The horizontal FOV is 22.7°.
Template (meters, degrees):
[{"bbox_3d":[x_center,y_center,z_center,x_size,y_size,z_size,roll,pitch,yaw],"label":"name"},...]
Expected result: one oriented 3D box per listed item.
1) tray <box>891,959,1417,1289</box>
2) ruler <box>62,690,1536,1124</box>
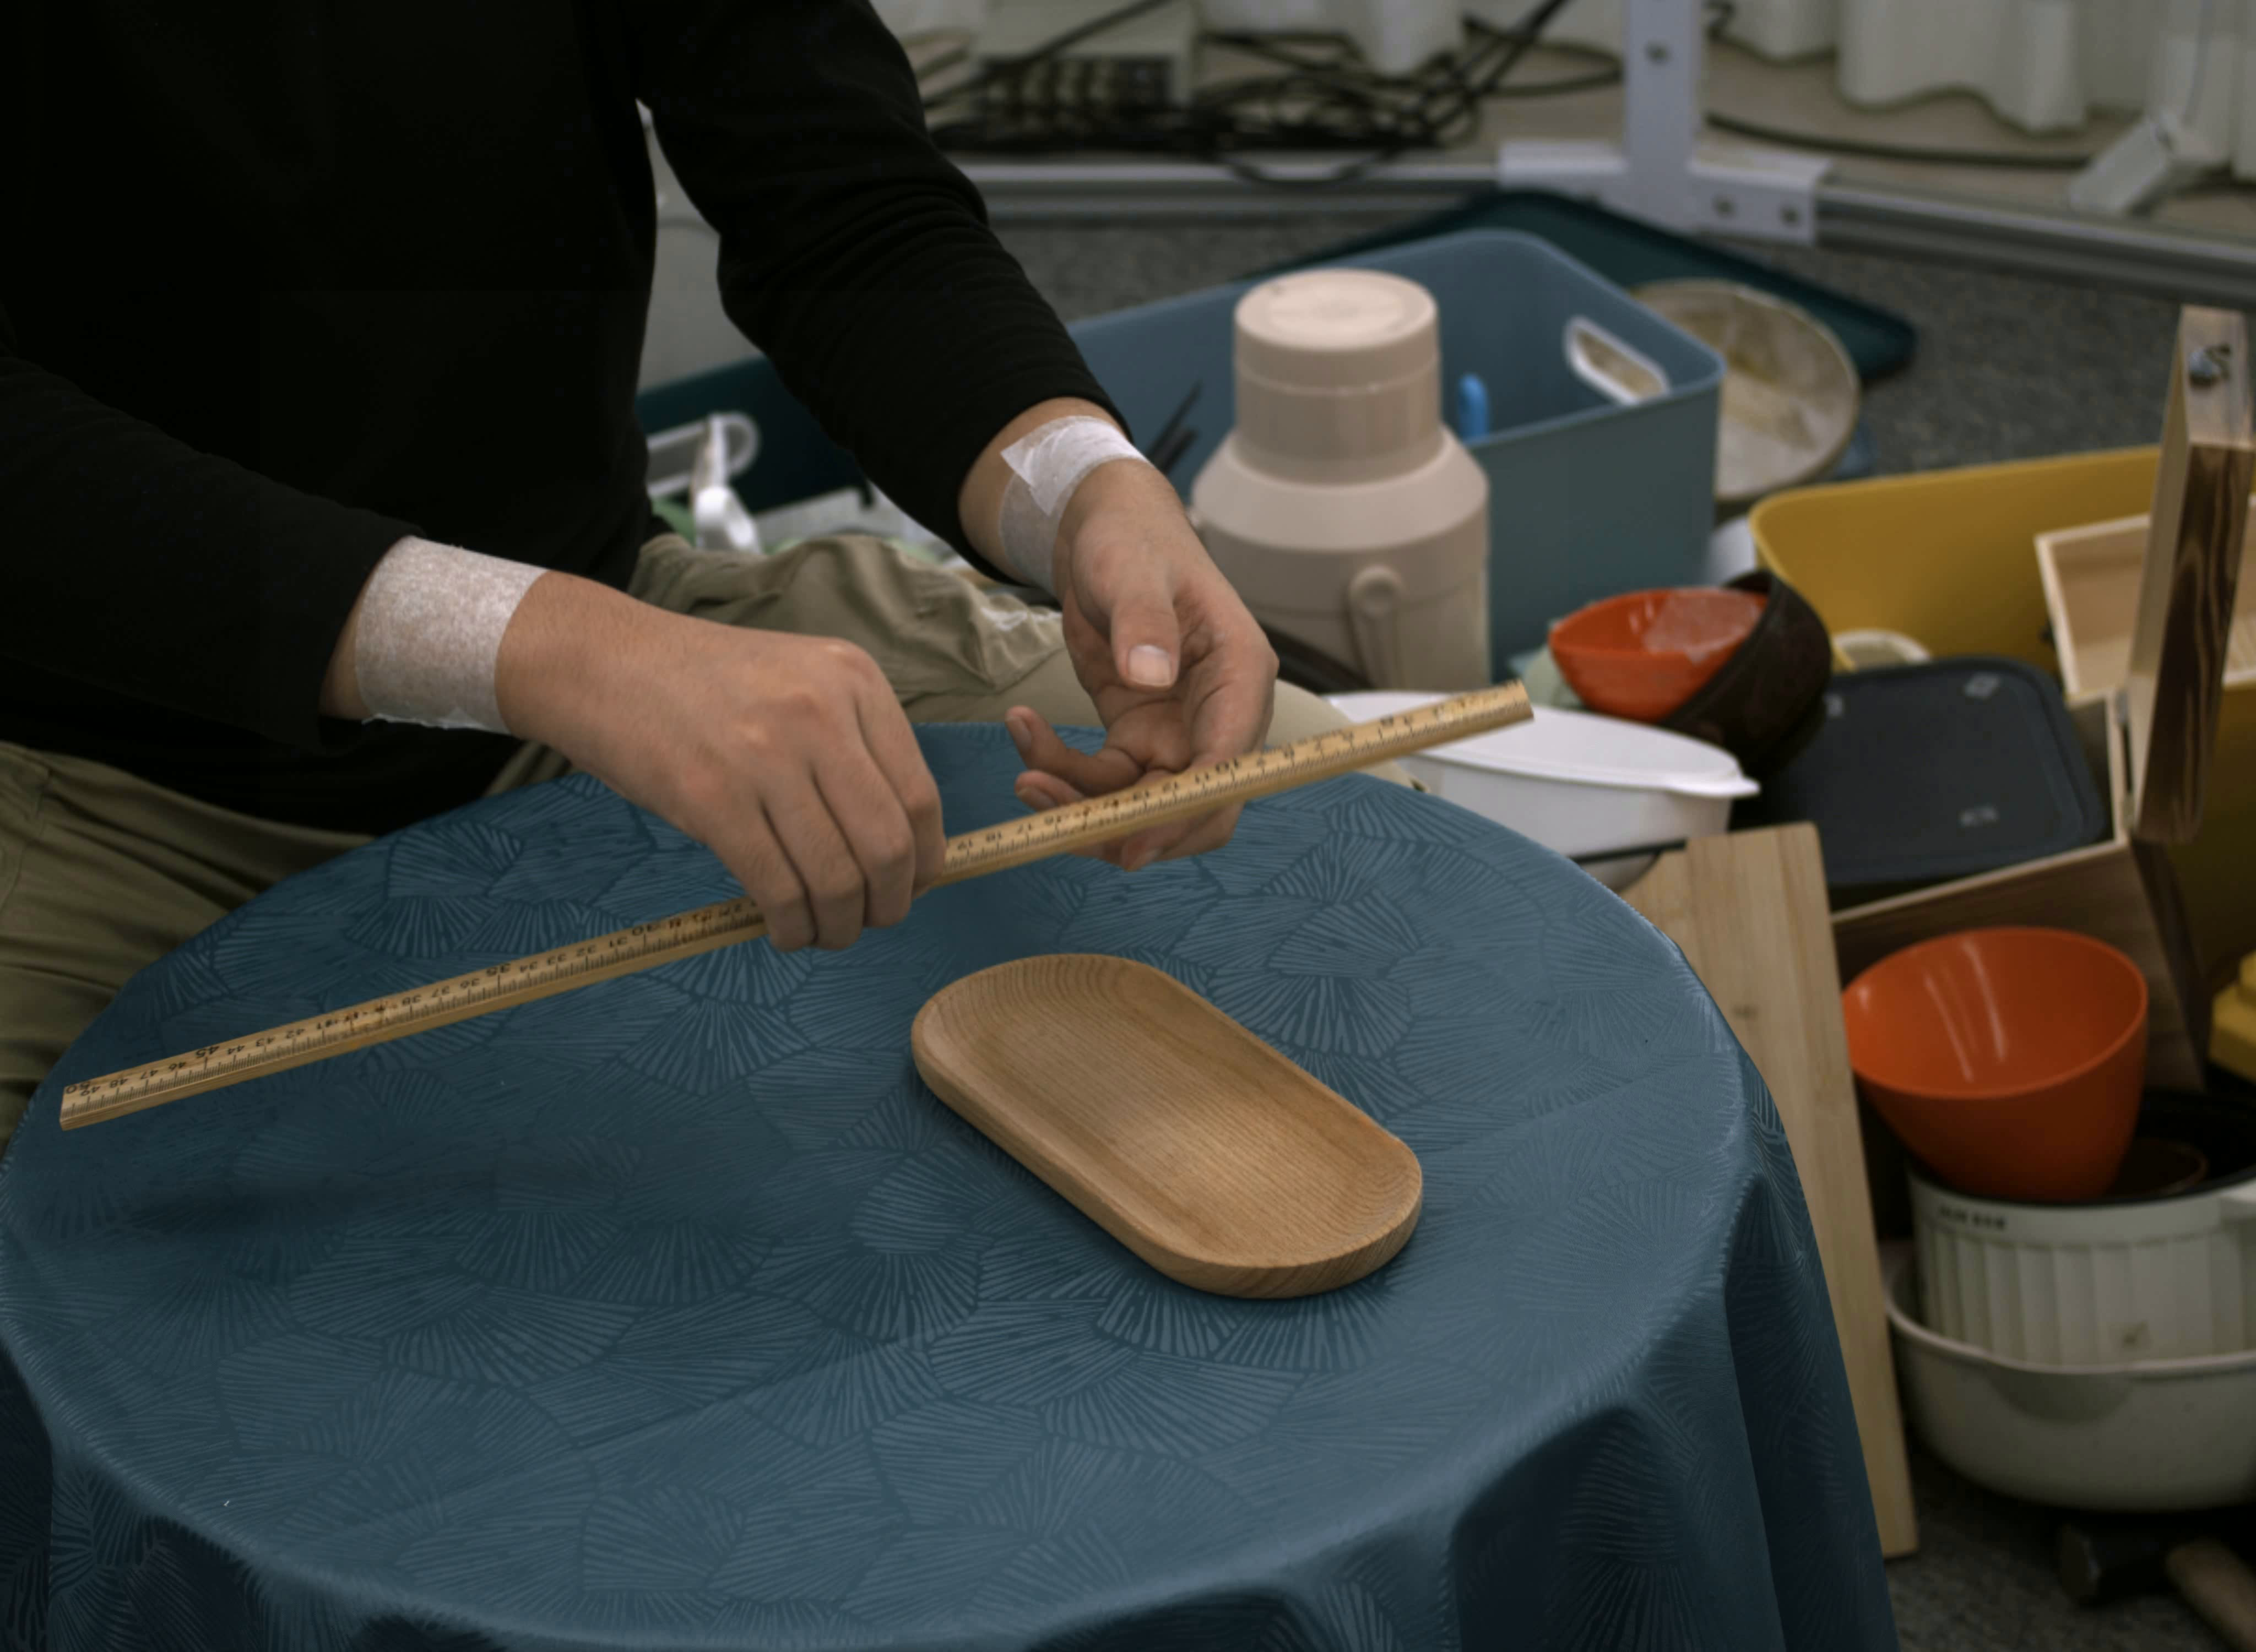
[{"bbox_3d":[0.007,0.099,1.887,0.102,0.020,0.231,-18,29,-31],"label":"tray"},{"bbox_3d":[-0.109,0.026,1.836,0.498,0.006,0.027,-15,22,2],"label":"ruler"}]
